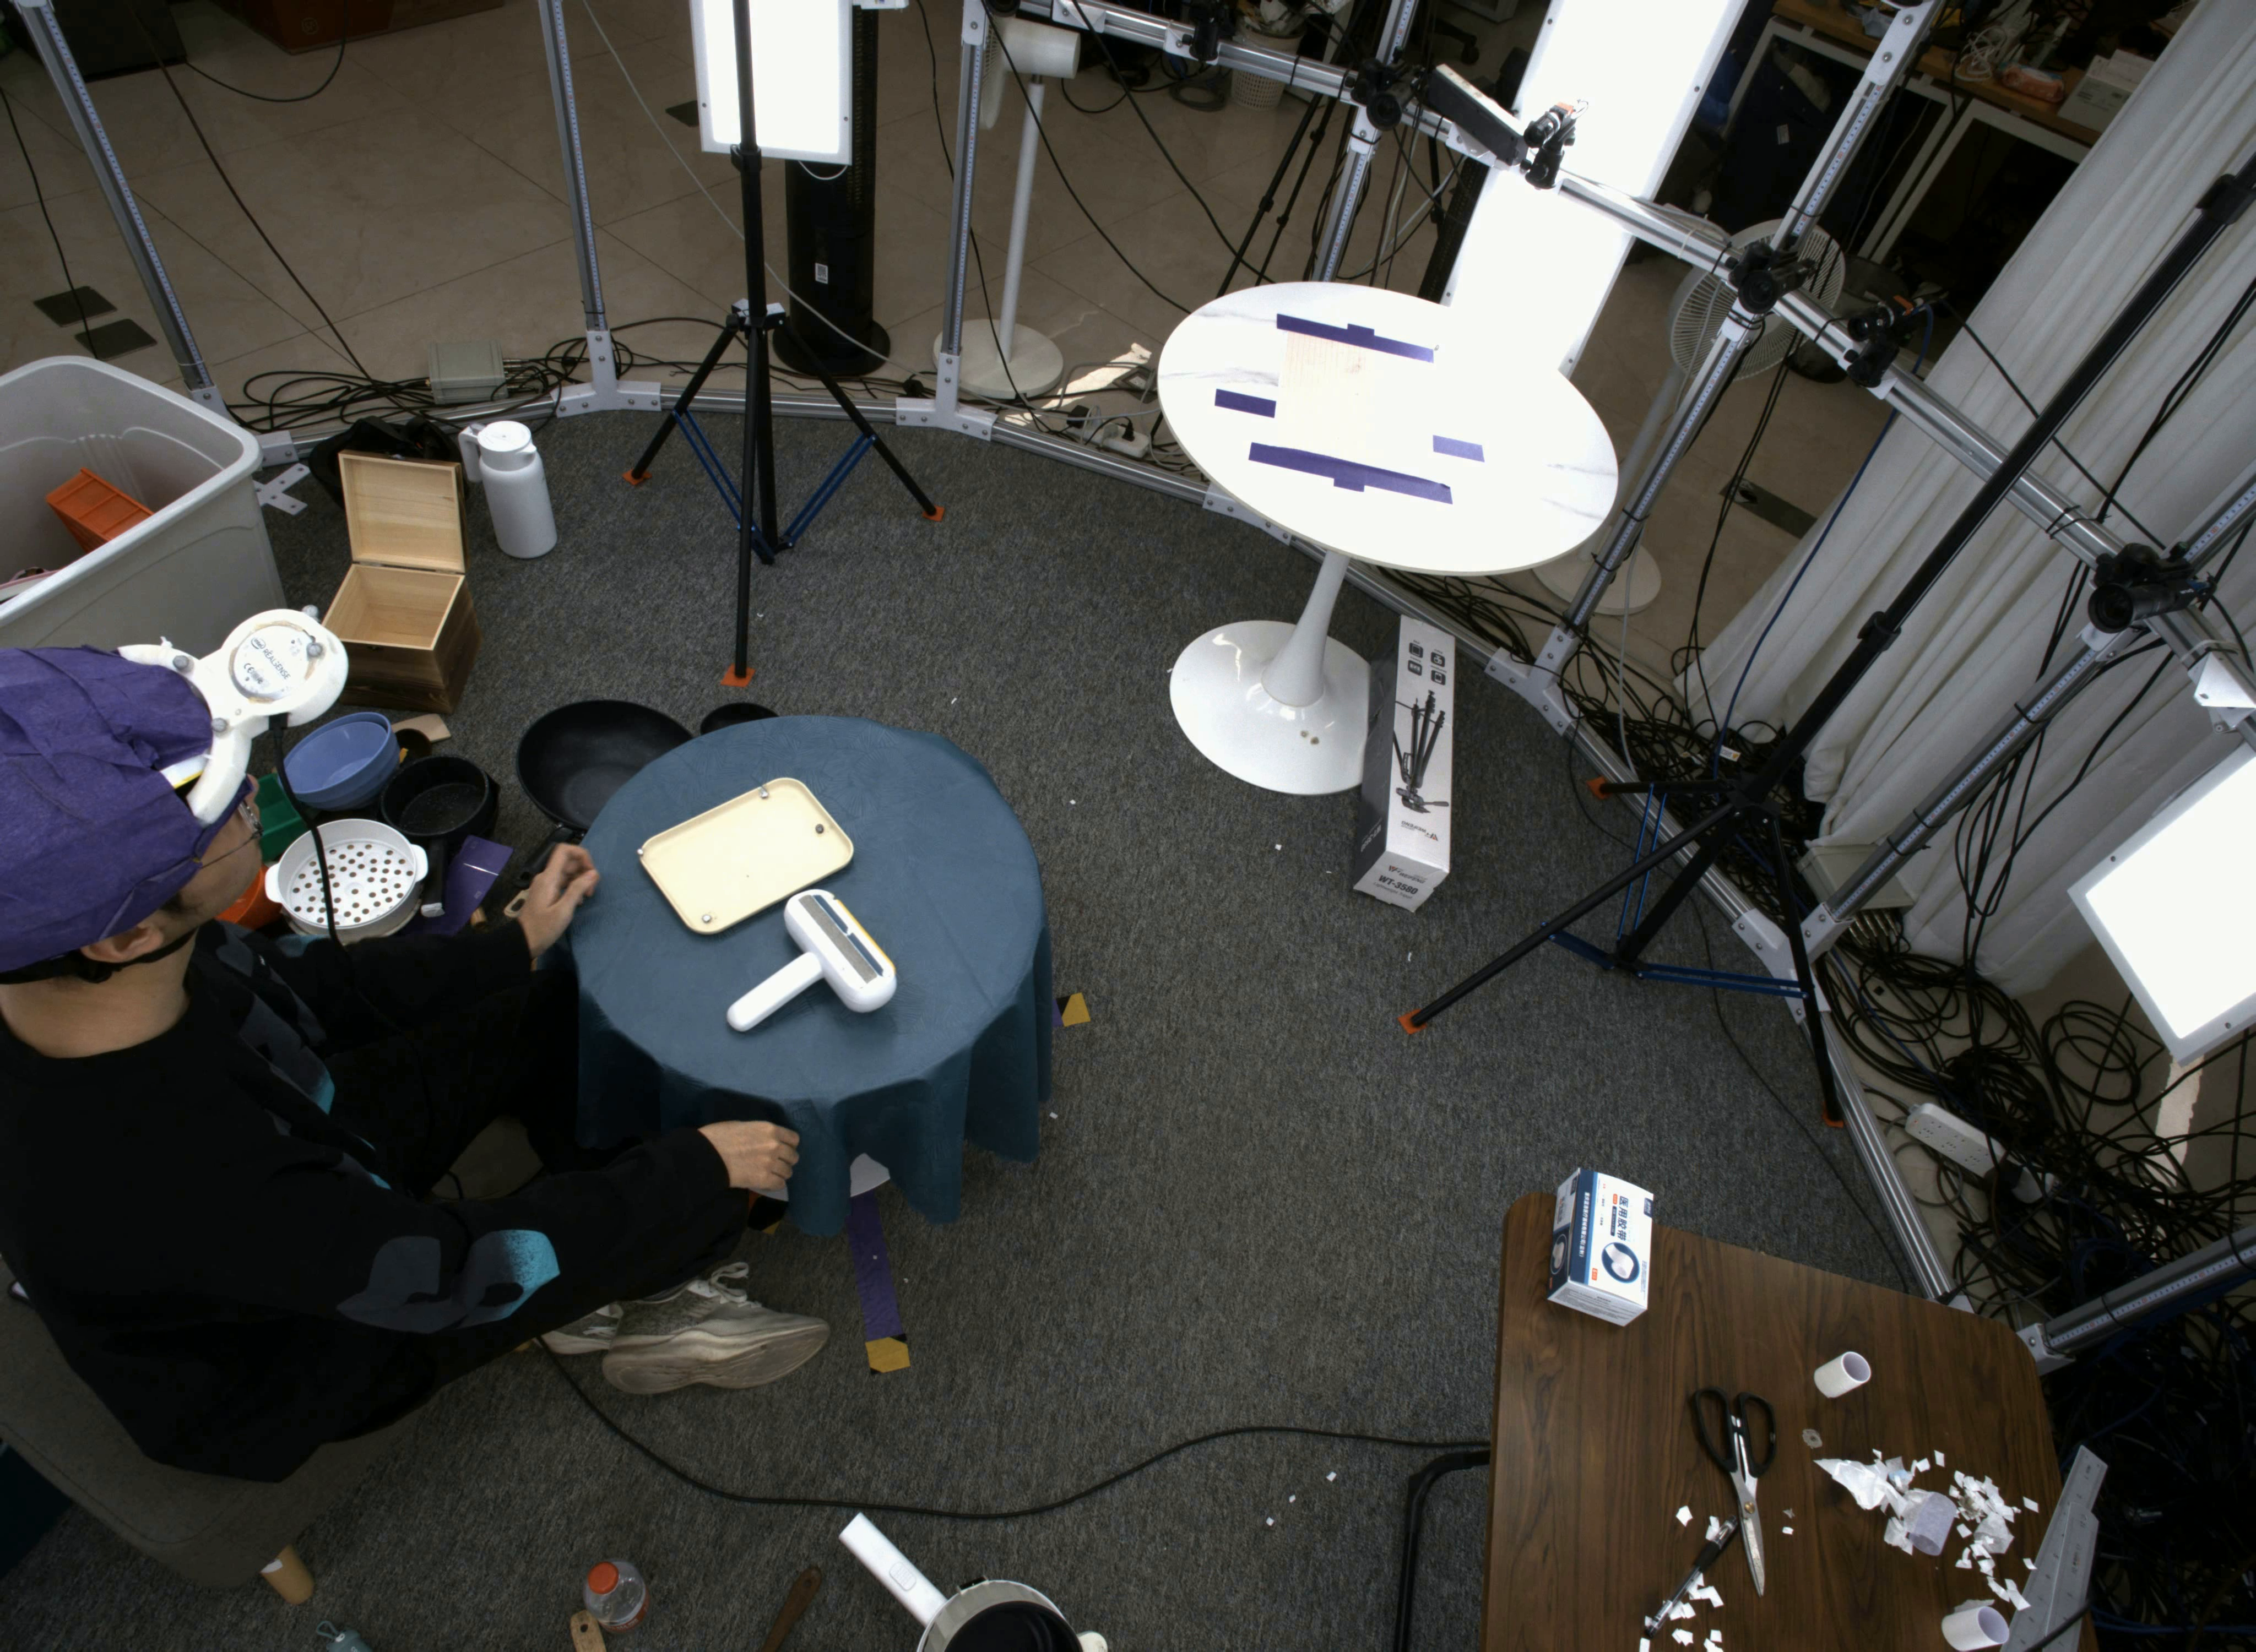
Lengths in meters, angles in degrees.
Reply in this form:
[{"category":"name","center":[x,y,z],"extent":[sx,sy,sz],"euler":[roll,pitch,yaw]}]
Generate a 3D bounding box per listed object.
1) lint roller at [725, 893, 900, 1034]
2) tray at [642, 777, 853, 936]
[{"category":"lint roller","center":[-0.396,0.181,1.560],"extent":[0.193,0.076,0.187],"euler":[-25,58,-27]},{"category":"tray","center":[-0.491,0.036,1.674],"extent":[0.240,0.018,0.167],"euler":[-30,67,-31]}]
